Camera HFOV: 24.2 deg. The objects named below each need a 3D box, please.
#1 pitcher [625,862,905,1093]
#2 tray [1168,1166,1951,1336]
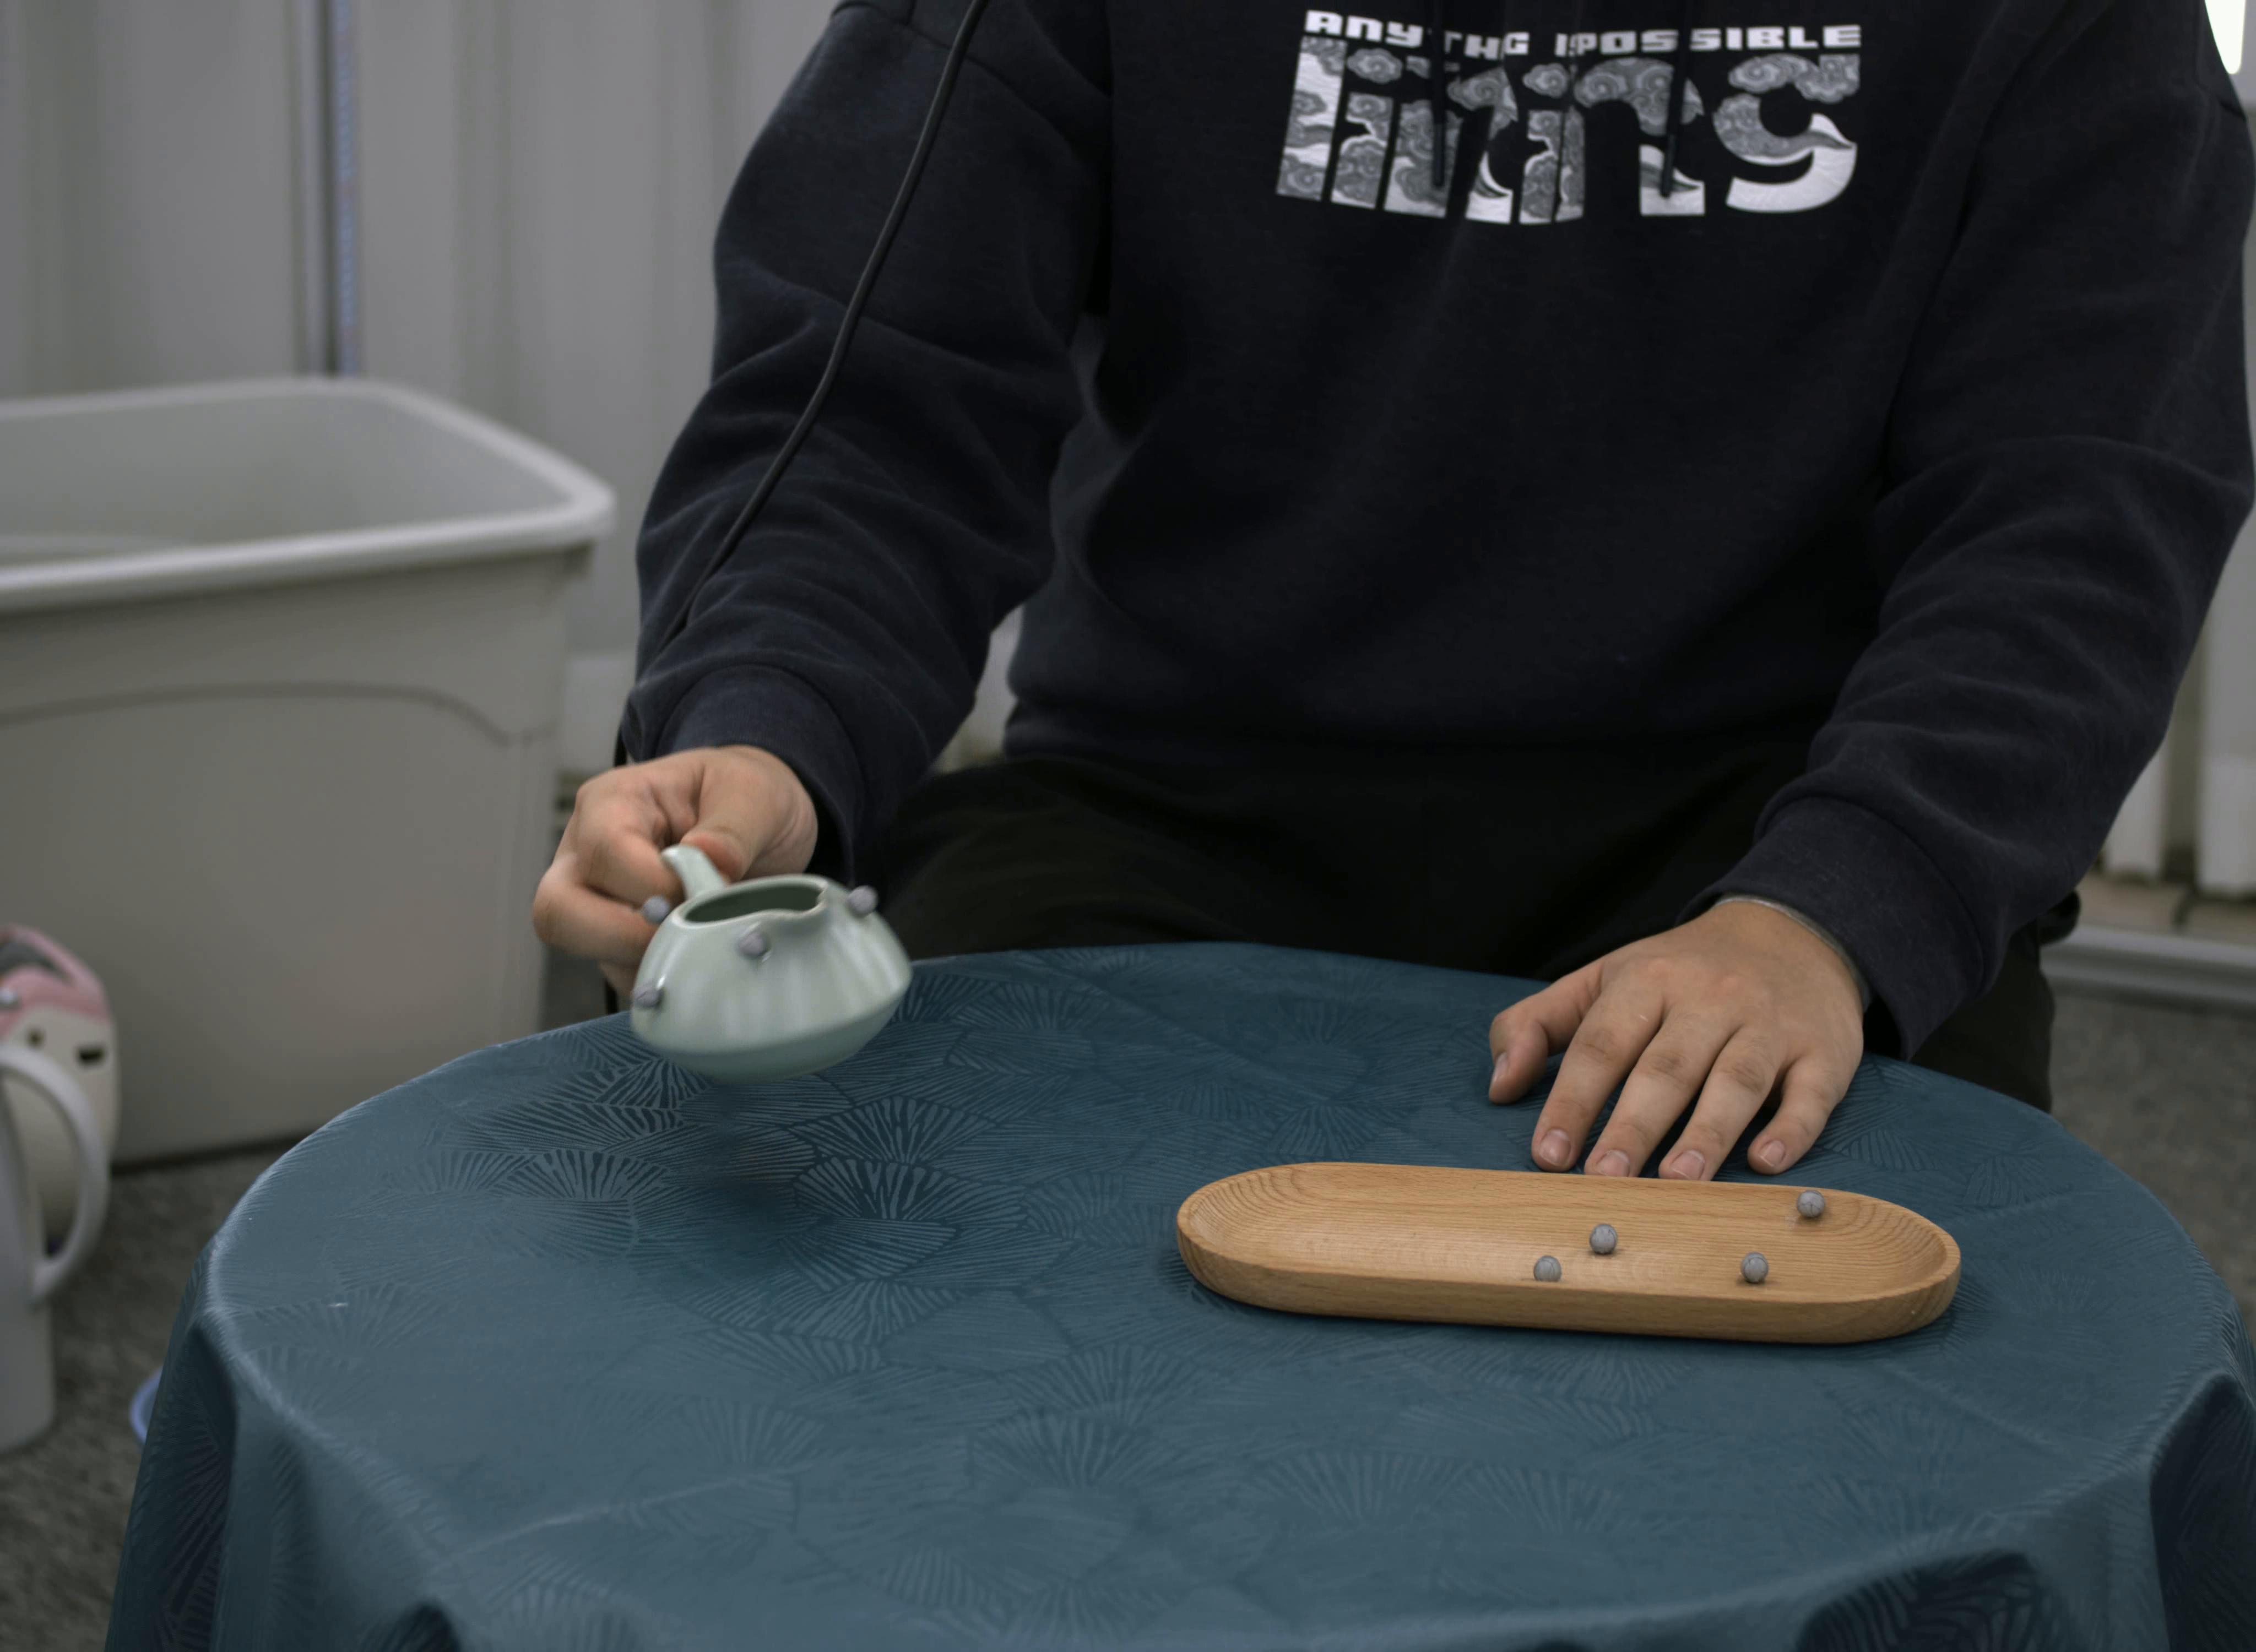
[{"bbox_3d":[-0.118,0.045,1.611,0.086,0.061,0.107,-18,16,-27],"label":"pitcher"},{"bbox_3d":[0.126,0.125,1.556,0.230,0.020,0.101,1,14,7],"label":"tray"}]
